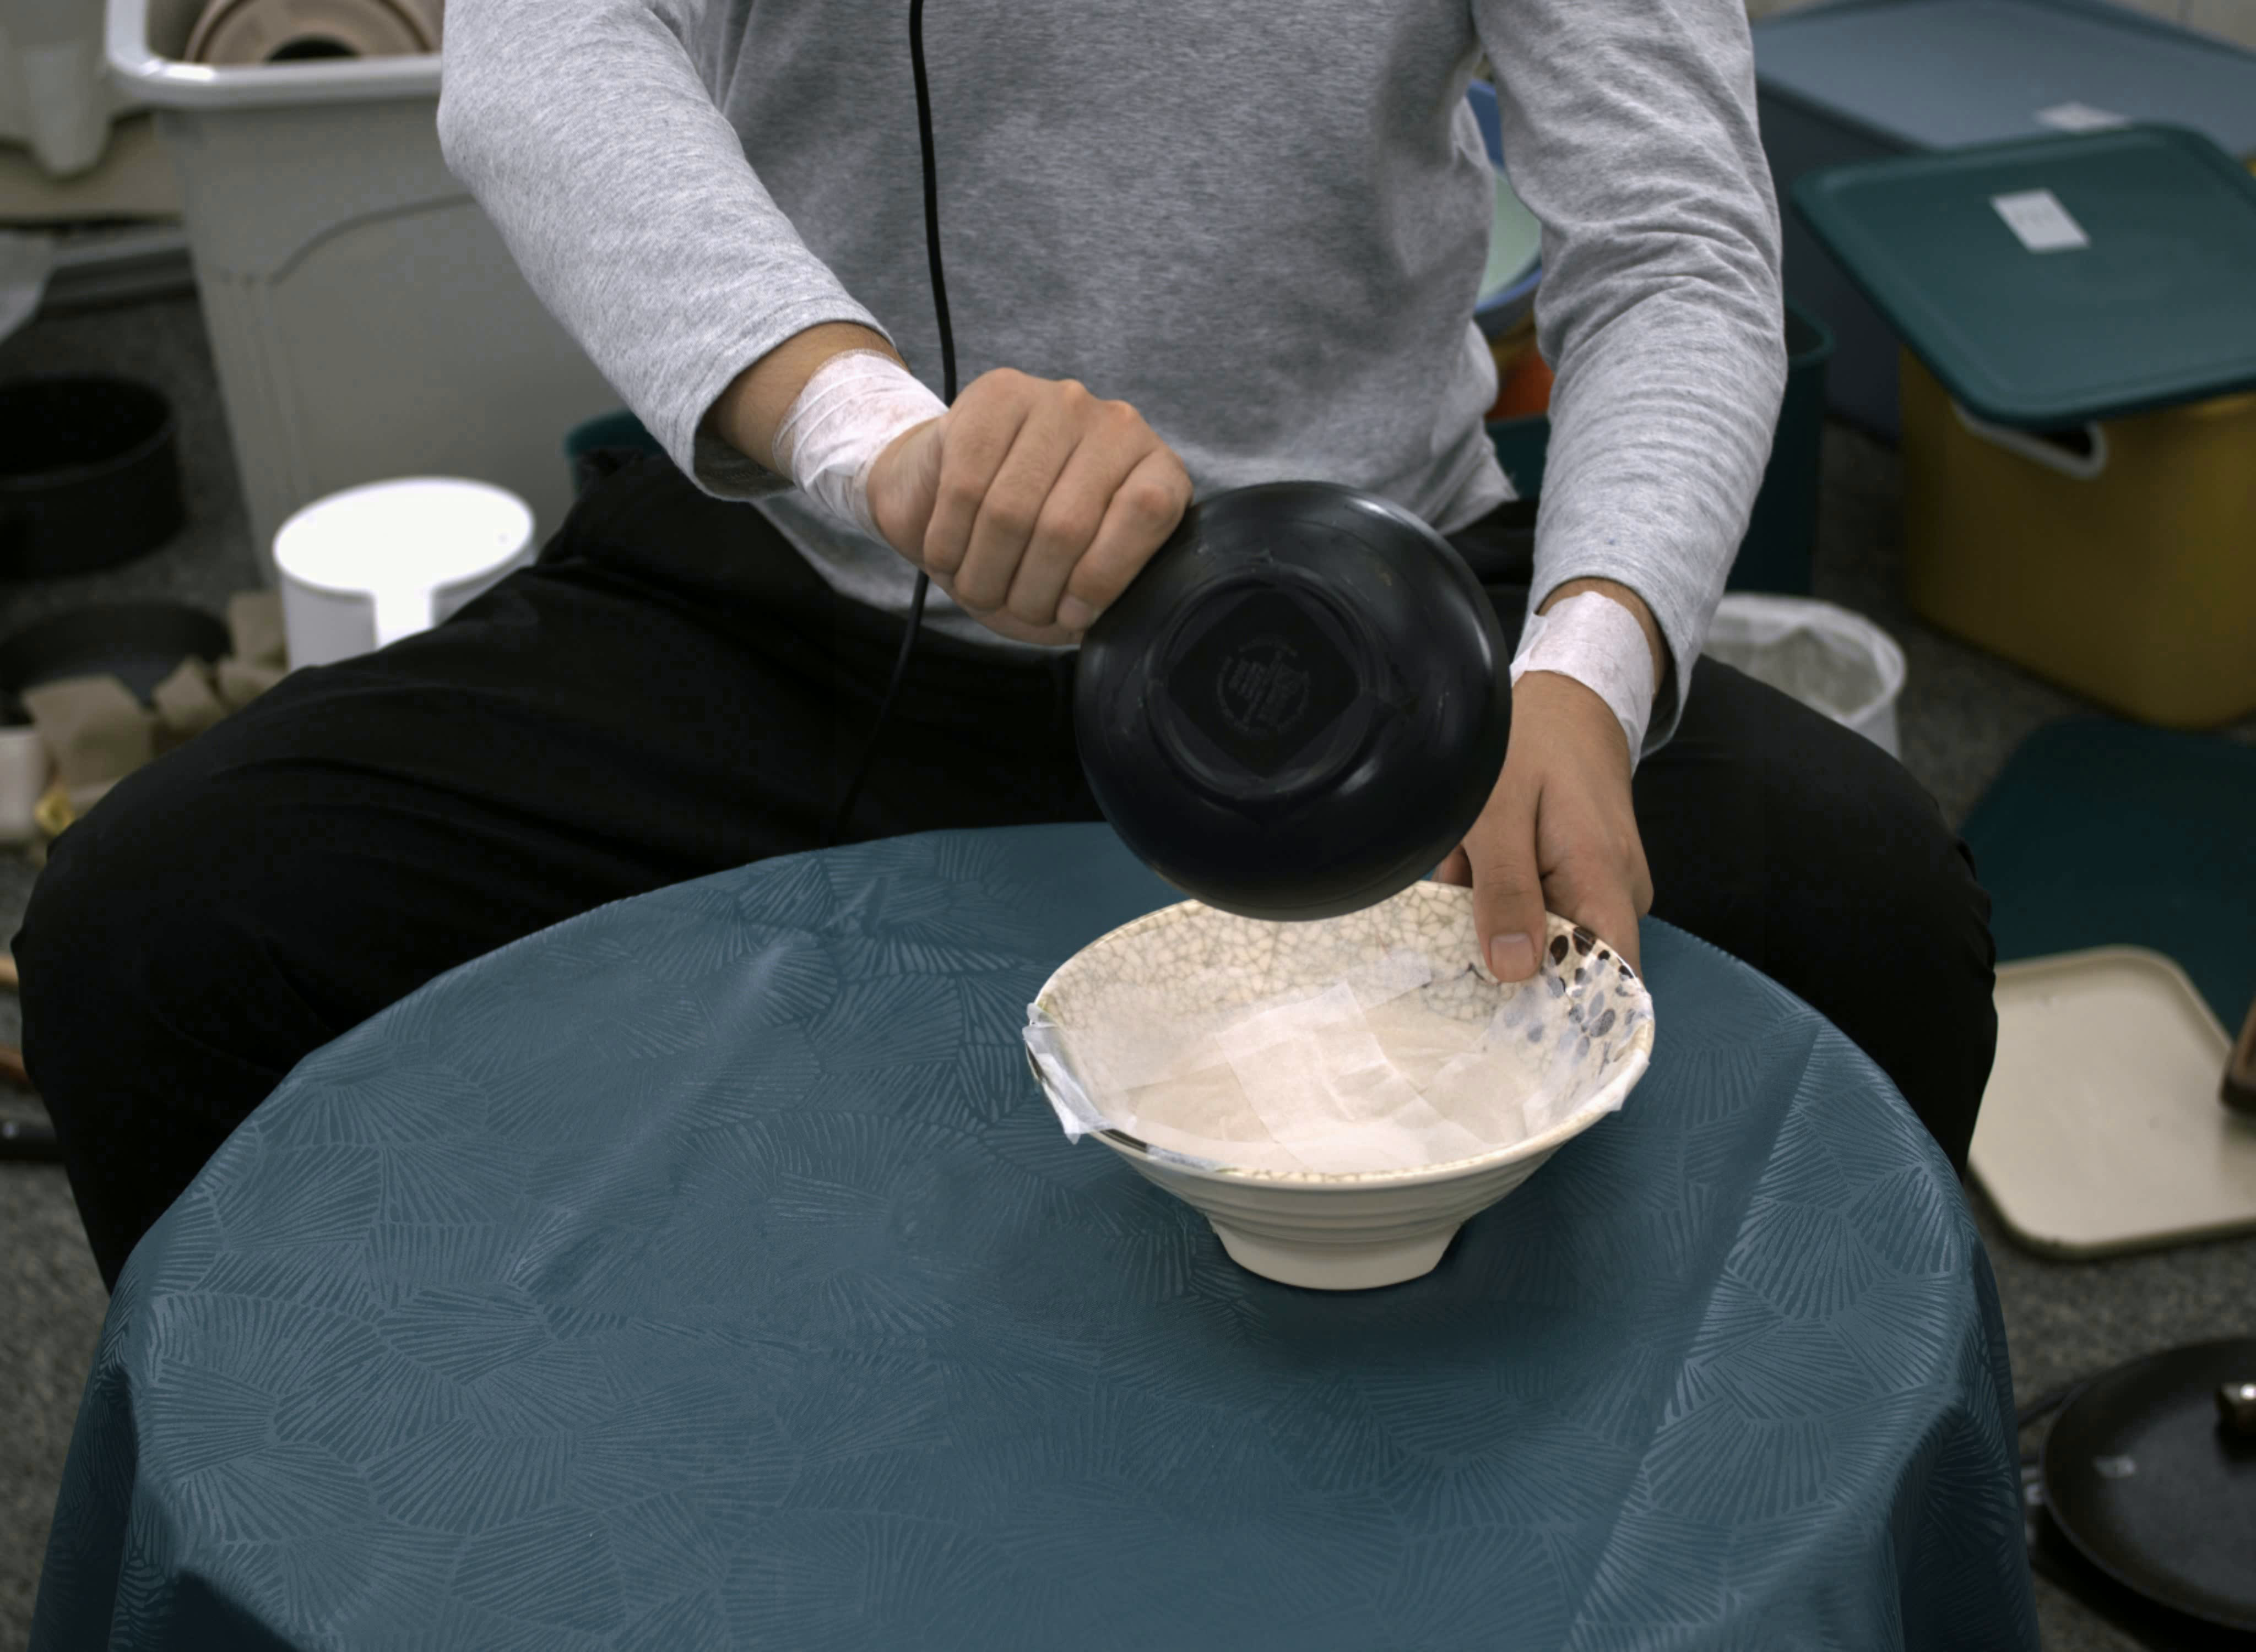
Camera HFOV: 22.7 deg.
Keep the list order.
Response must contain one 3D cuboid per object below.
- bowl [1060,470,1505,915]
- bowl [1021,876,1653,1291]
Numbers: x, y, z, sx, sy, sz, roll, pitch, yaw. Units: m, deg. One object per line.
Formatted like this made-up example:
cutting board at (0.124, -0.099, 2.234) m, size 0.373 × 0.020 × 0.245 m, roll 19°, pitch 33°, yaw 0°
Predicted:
bowl at (0.044, -0.044, 1.724) m, size 0.139 × 0.141 × 0.049 m, roll 2°, pitch -9°, yaw 8°
bowl at (0.068, 0.095, 1.820) m, size 0.203 × 0.077 × 0.207 m, roll -1°, pitch 26°, yaw 1°
